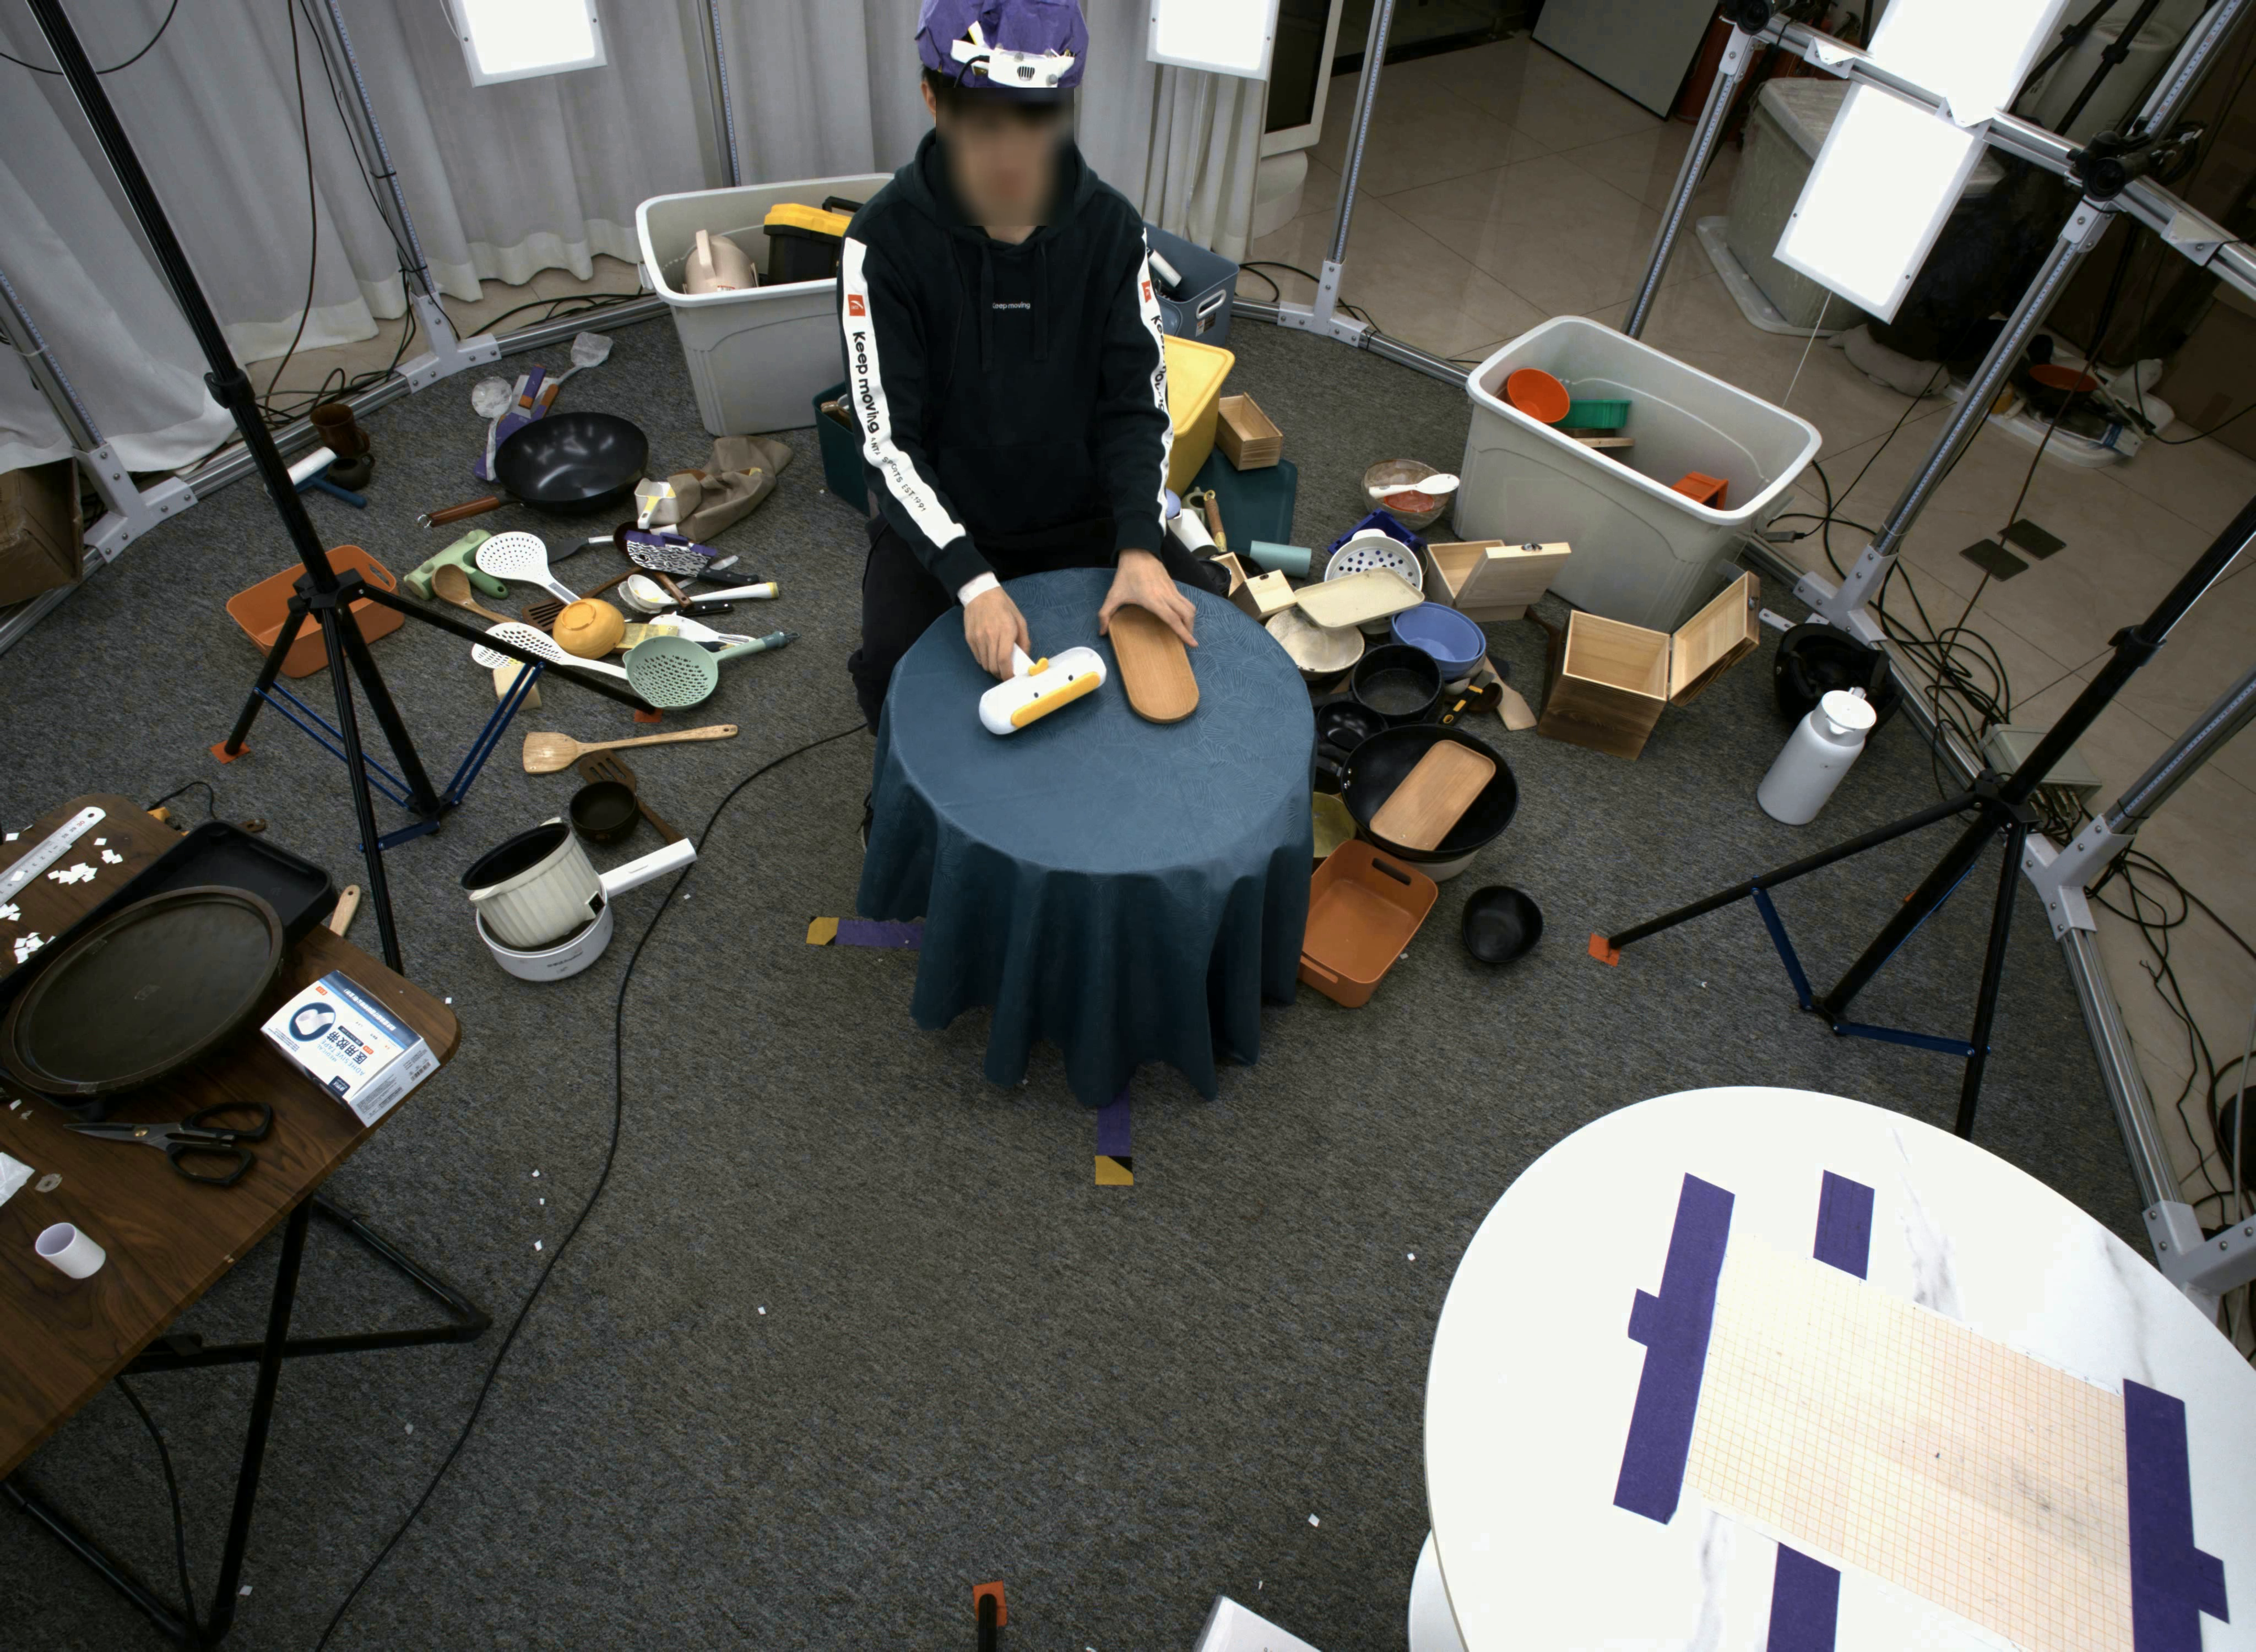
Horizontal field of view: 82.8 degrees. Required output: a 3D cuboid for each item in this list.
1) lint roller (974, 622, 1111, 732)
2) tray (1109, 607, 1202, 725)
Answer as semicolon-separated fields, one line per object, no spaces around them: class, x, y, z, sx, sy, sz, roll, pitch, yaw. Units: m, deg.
lint roller;-0.149;-0.226;1.816;0.194;0.072;0.196;-35;48;-21
tray;0.038;-0.234;1.857;0.101;0.020;0.237;-9;54;-11
